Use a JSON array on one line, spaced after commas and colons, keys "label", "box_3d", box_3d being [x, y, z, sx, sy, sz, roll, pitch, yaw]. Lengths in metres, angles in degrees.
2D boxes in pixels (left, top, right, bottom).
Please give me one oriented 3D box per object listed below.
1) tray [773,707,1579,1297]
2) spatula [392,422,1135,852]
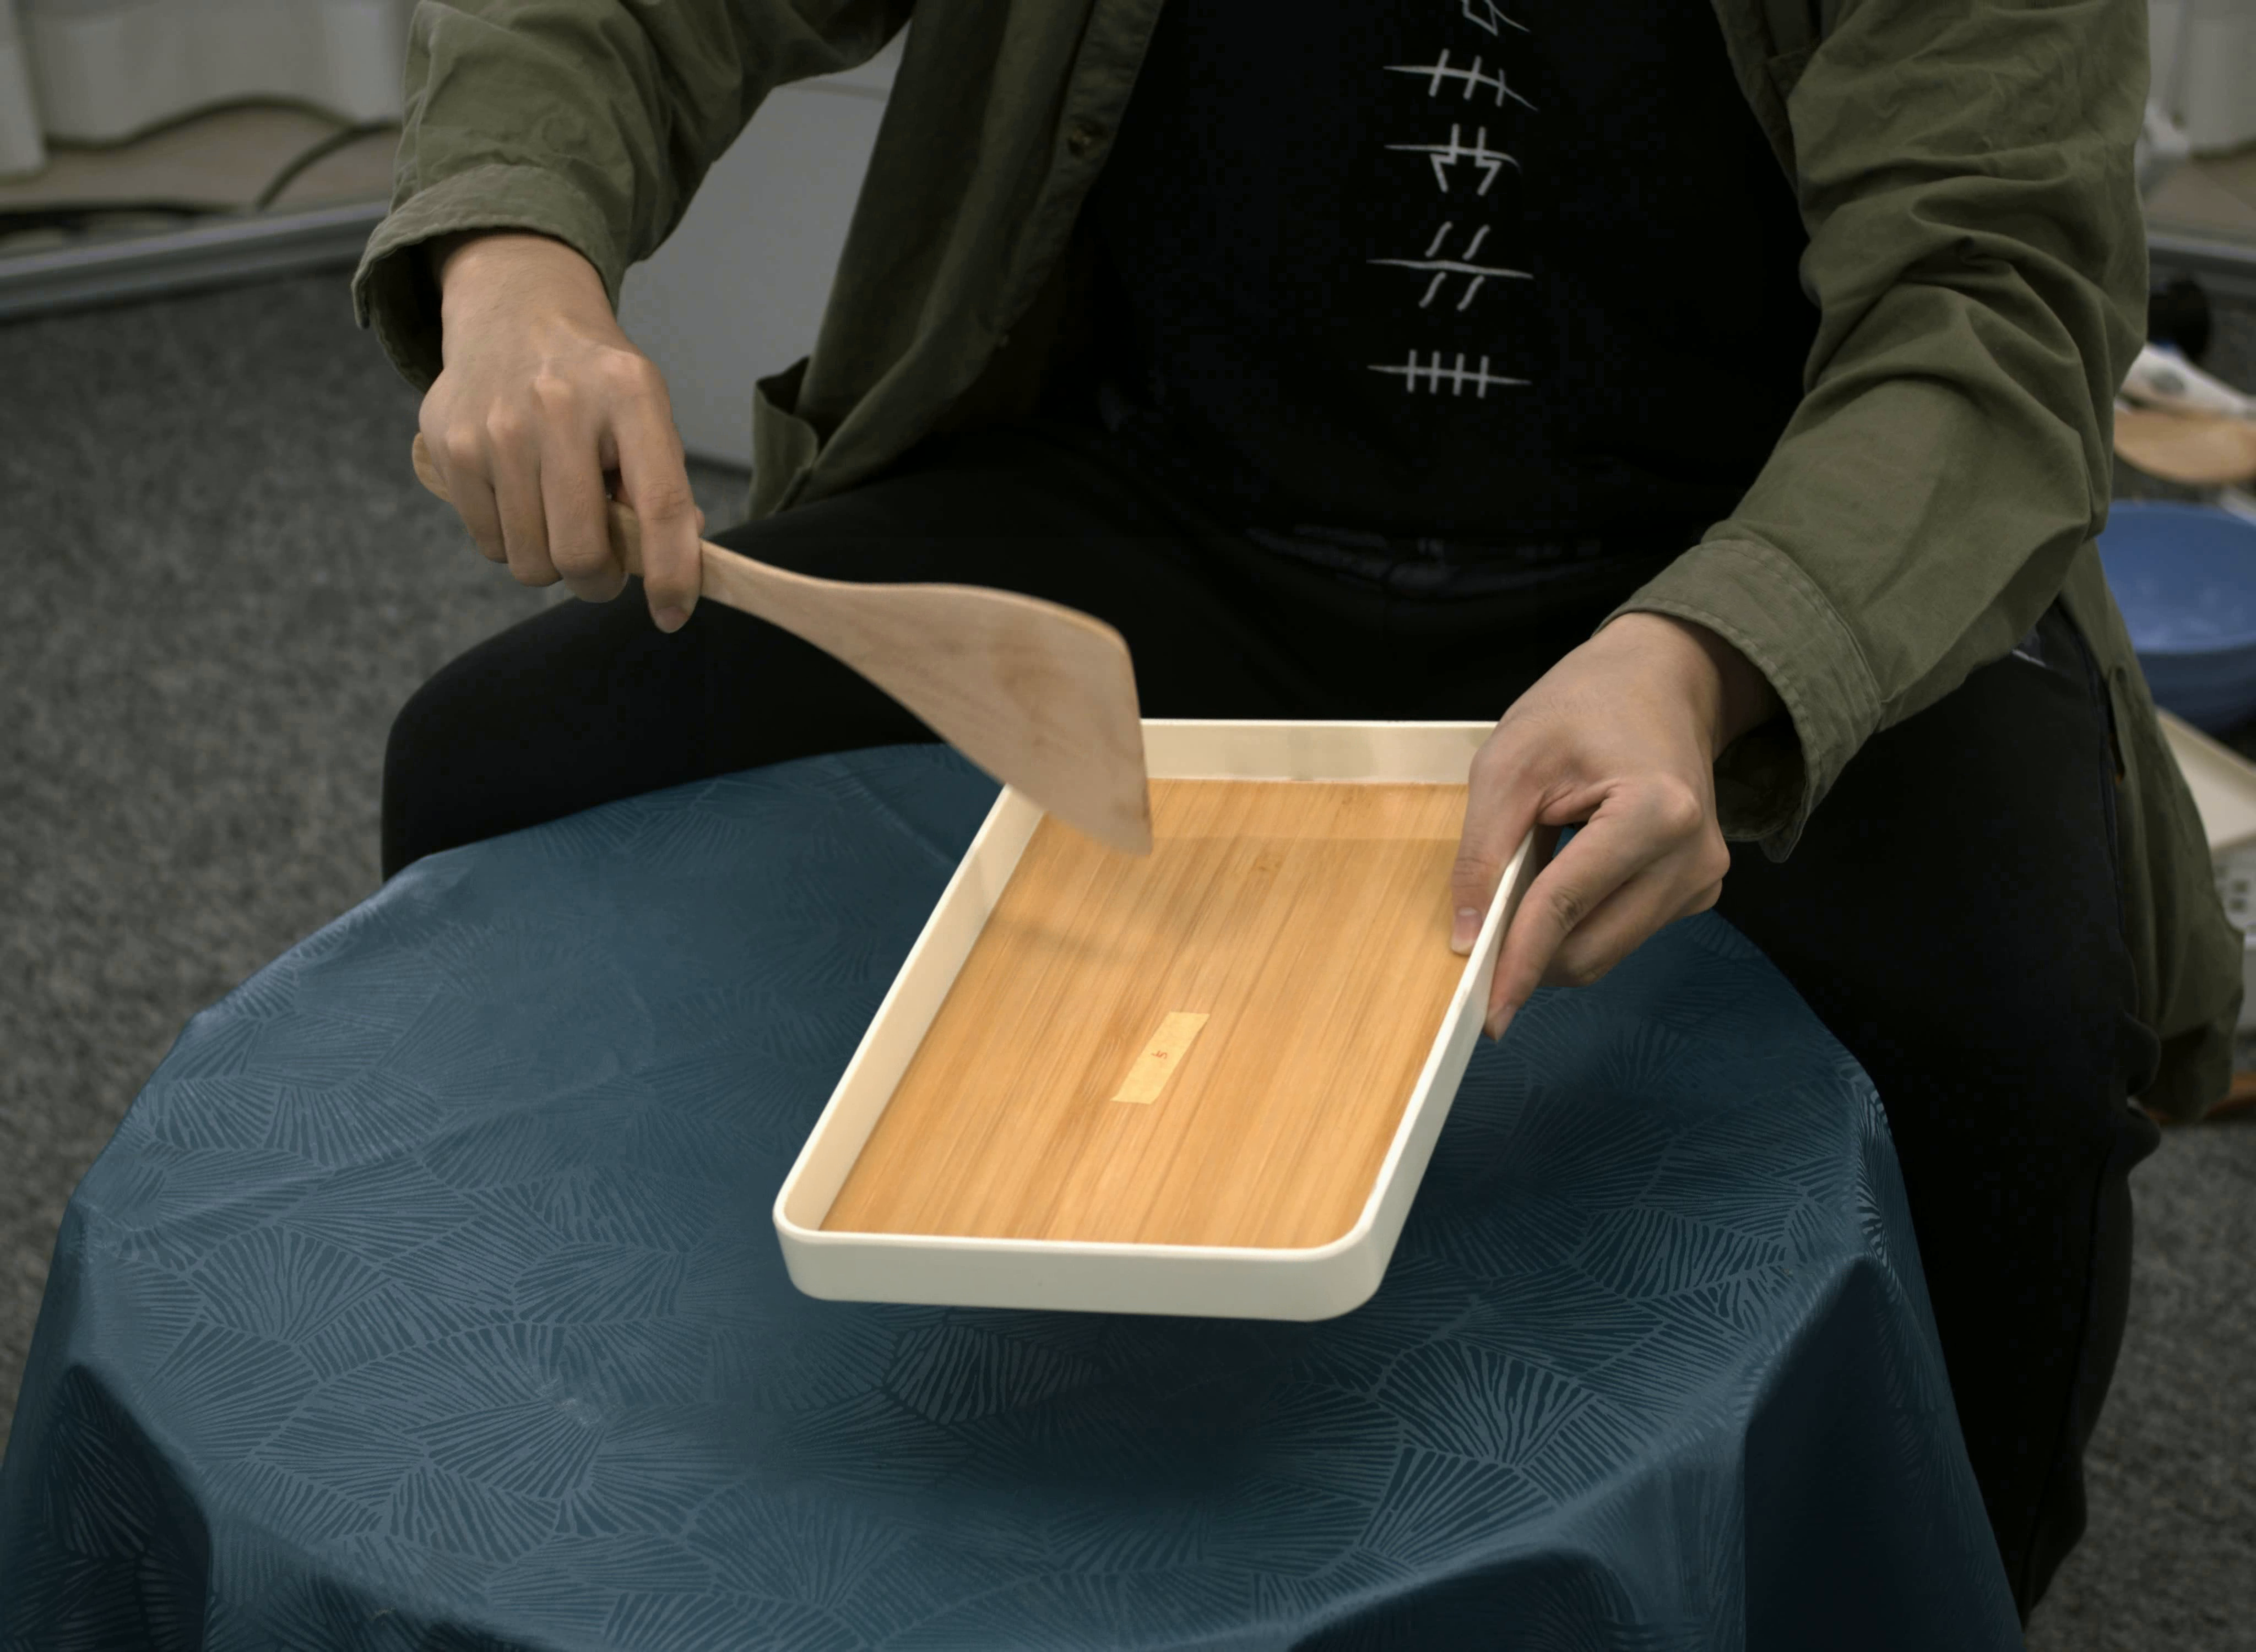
[{"label": "tray", "box_3d": [0.022, 0.050, 1.788, 0.190, 0.027, 0.306, 1, 31, 19]}, {"label": "spatula", "box_3d": [-0.125, -0.077, 1.869, 0.327, 0.079, 0.017, 22, 35, 29]}]
